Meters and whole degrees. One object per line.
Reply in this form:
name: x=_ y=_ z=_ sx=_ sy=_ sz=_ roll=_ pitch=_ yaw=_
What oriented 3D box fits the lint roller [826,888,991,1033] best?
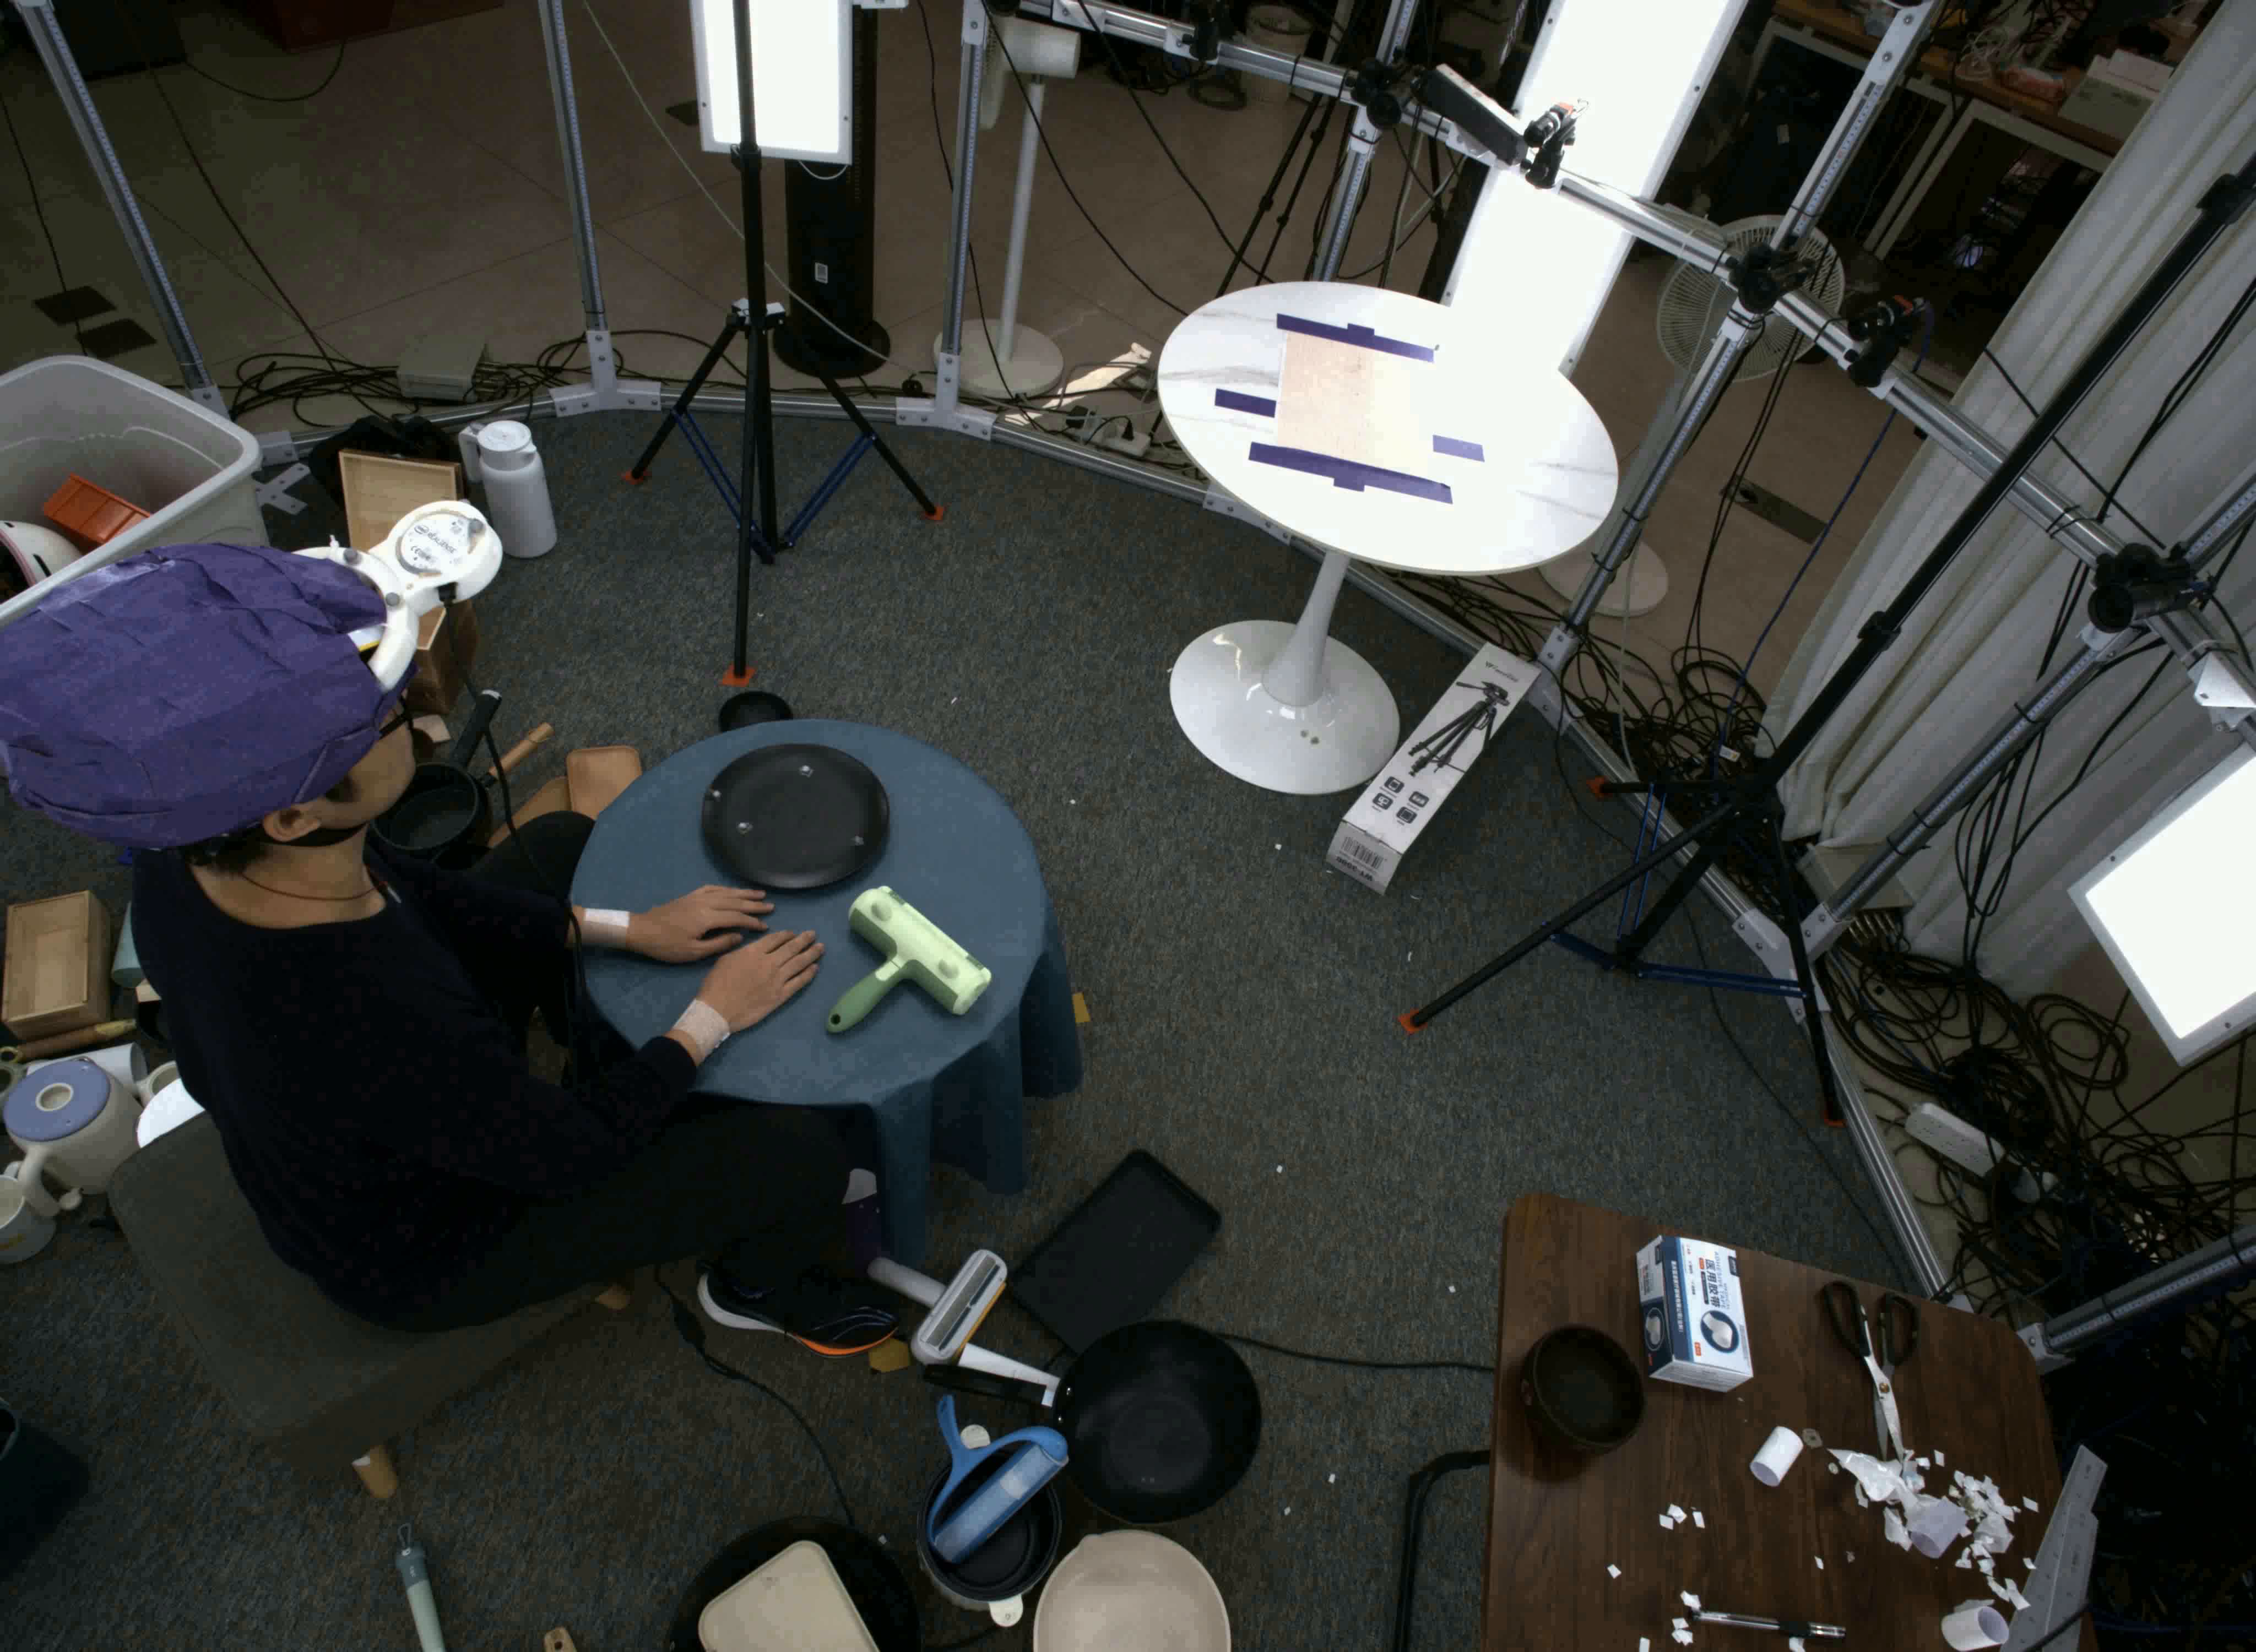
lint roller: x=-0.293 y=0.173 z=1.564 sx=0.194 sy=0.084 sz=0.183 roll=36 pitch=47 yaw=15

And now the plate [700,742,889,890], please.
plate: x=-0.437 y=-0.013 z=1.705 sx=0.244 sy=0.024 sz=0.240 roll=8 pitch=52 yaw=-9
